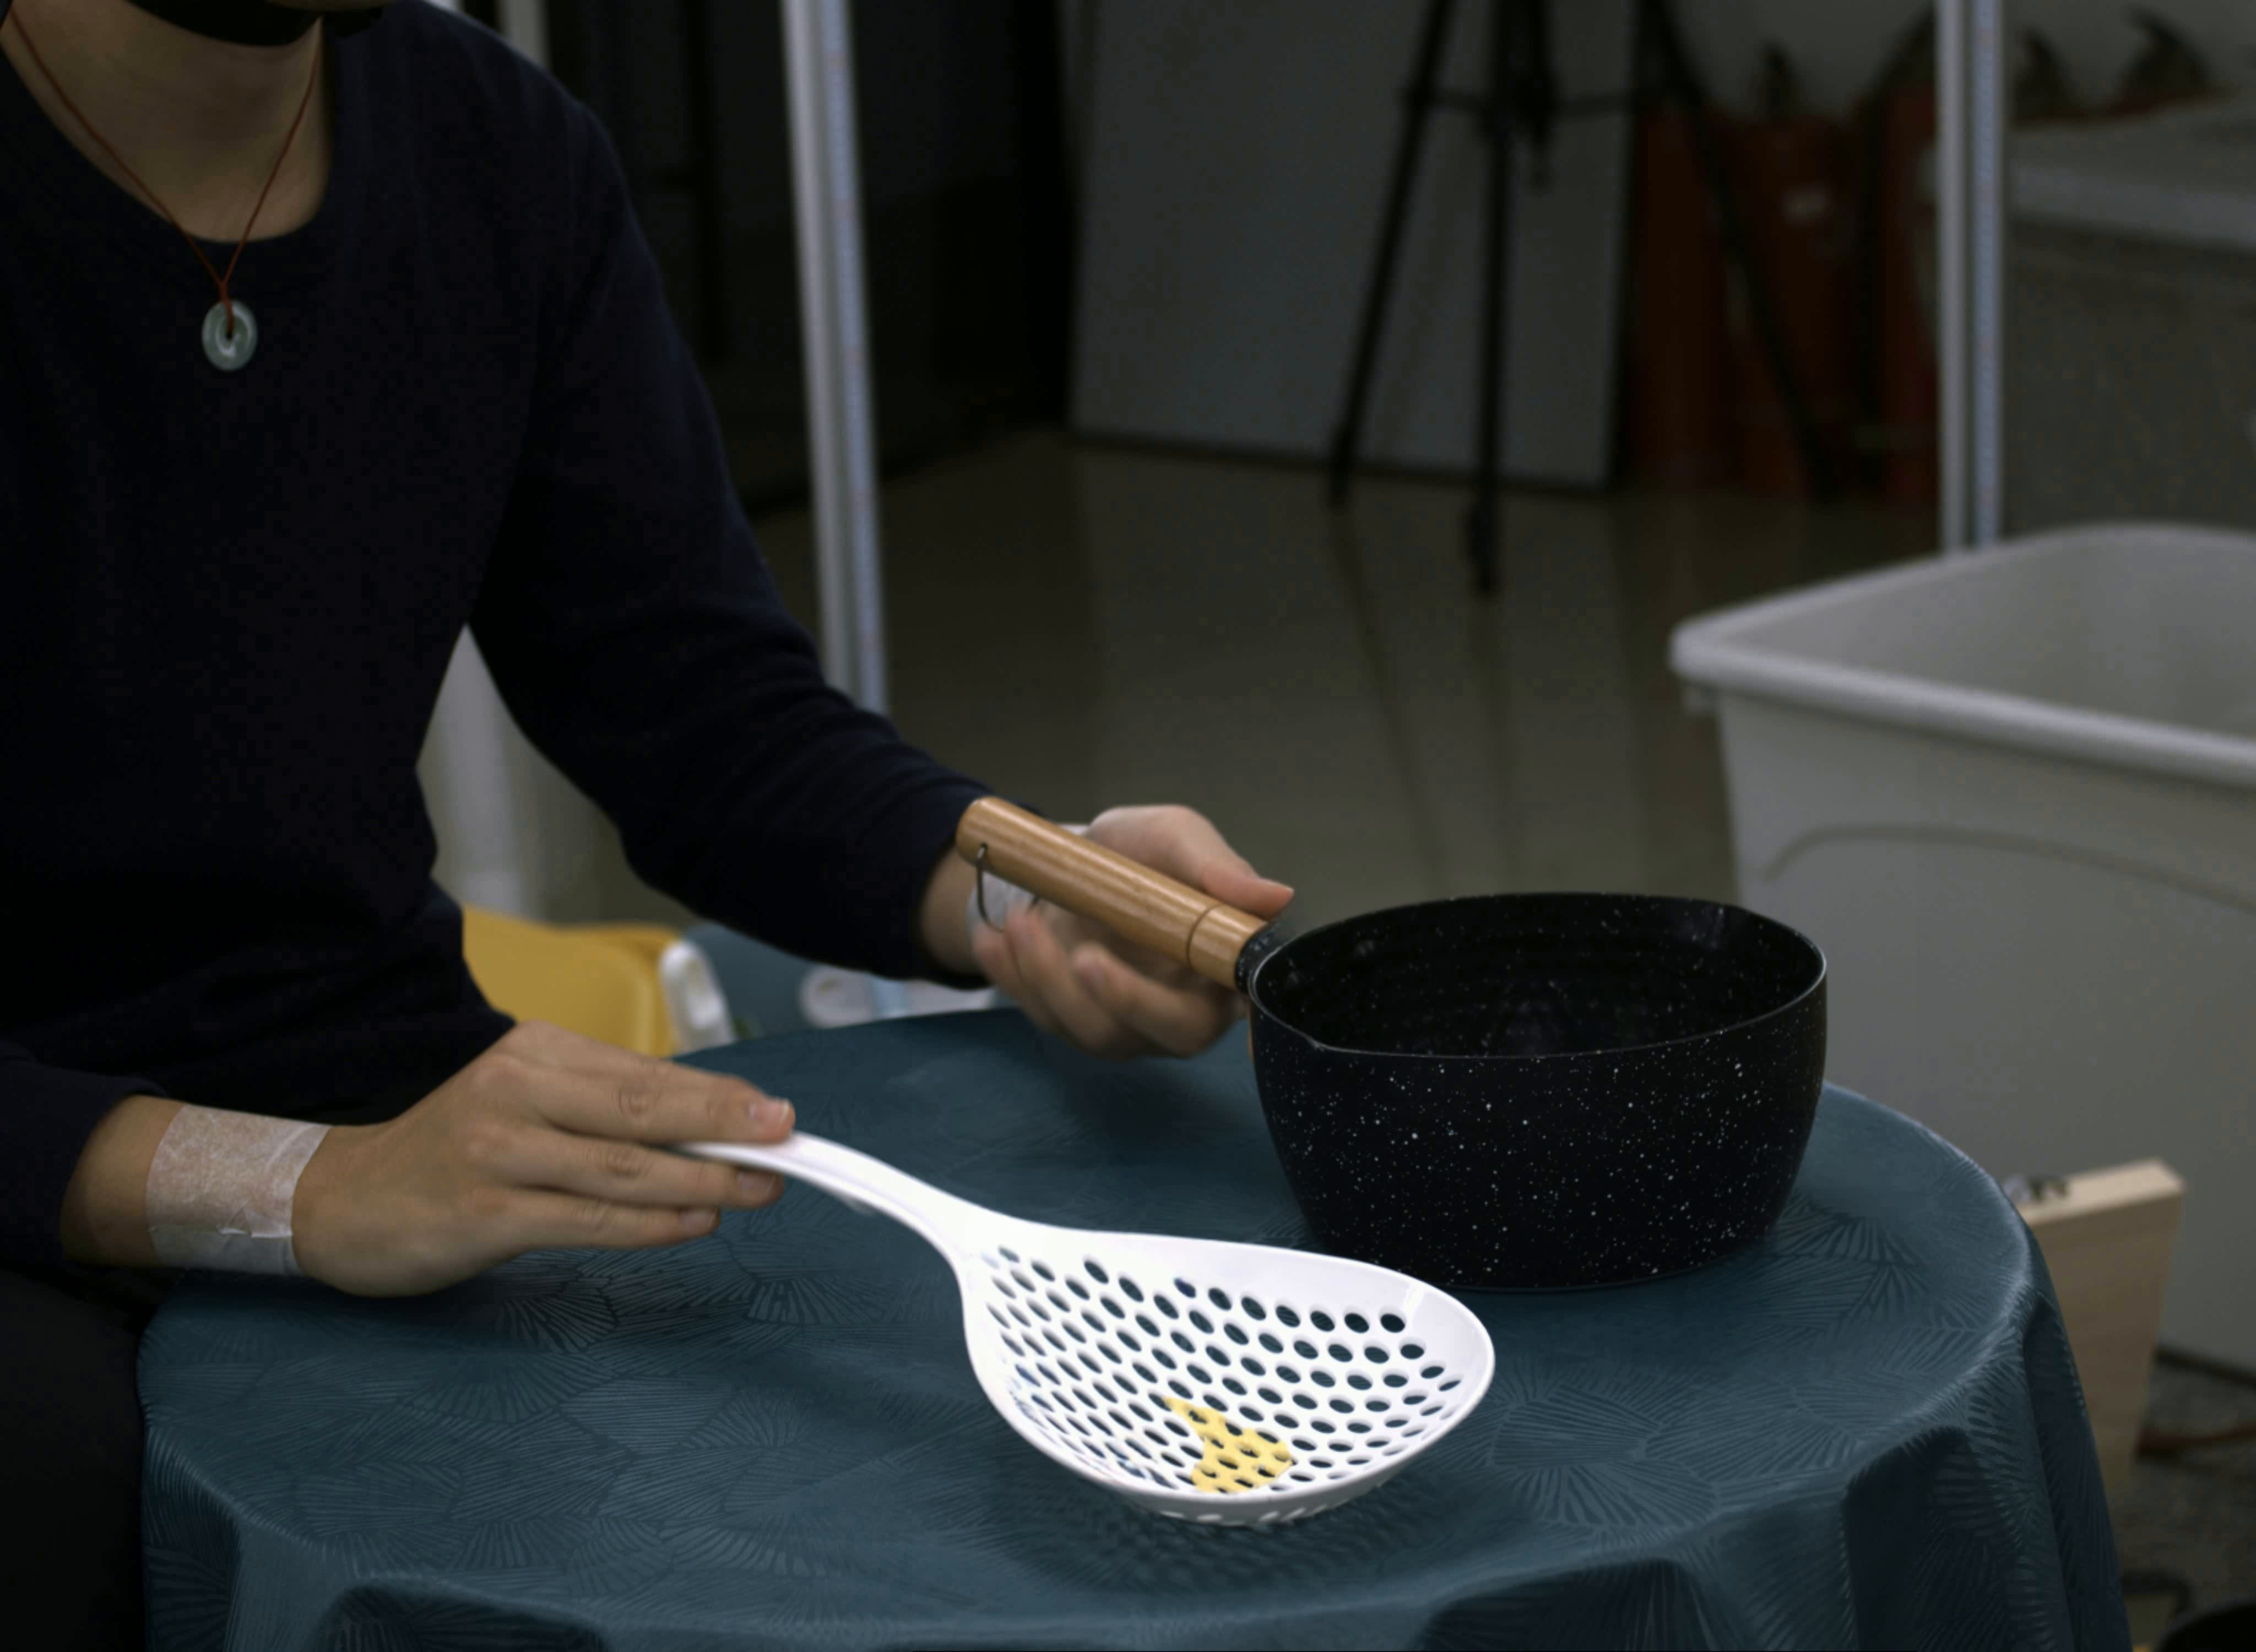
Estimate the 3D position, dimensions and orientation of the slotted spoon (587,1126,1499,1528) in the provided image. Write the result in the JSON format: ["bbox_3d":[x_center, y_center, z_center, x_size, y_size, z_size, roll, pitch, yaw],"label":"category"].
[{"bbox_3d":[-0.041,0.130,1.571,0.134,0.051,0.351,-26,36,-36],"label":"slotted spoon"}]

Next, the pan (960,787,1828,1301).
[{"bbox_3d":[0.072,0.063,1.755,0.346,0.109,0.203,10,21,42],"label":"pan"}]
